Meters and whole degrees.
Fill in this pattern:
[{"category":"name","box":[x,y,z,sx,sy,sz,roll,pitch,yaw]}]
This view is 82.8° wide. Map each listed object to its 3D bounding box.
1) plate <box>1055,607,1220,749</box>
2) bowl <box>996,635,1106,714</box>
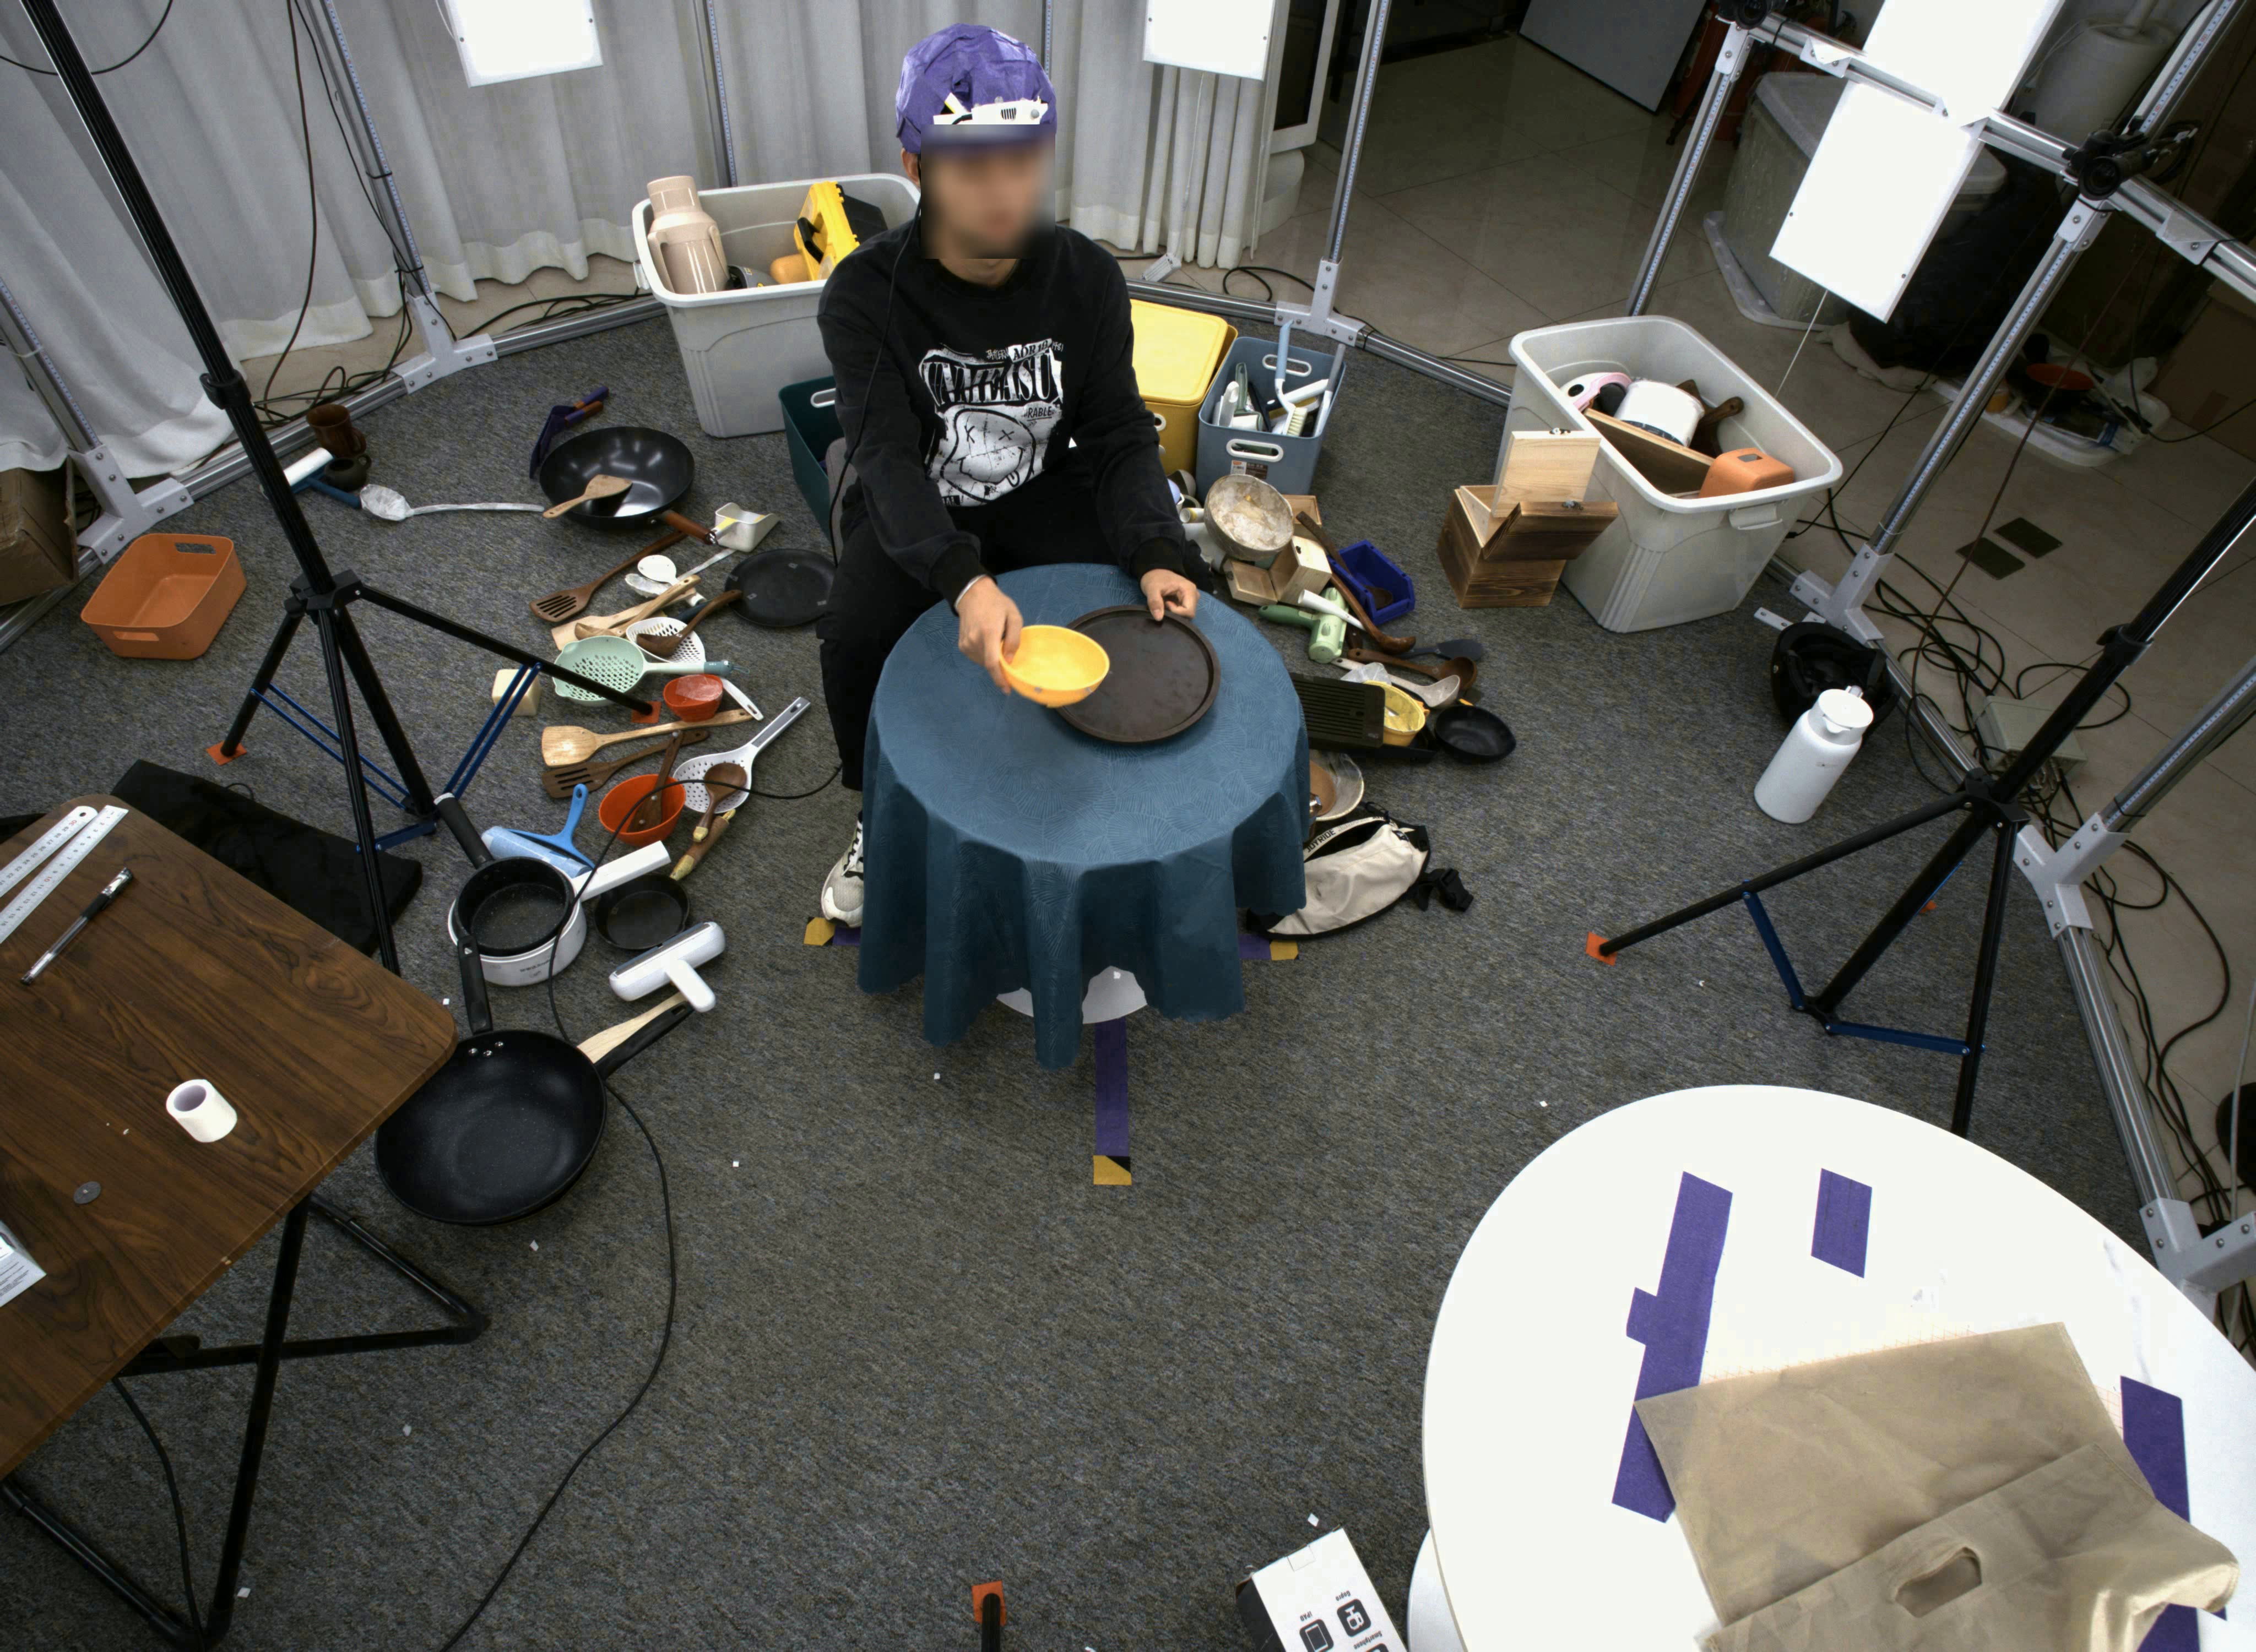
[{"category":"plate","box":[0.006,-0.214,1.839,0.255,0.028,0.261,-1,55,2]},{"category":"bowl","box":[-0.105,-0.191,1.696,0.145,0.059,0.149,6,38,-5]}]
